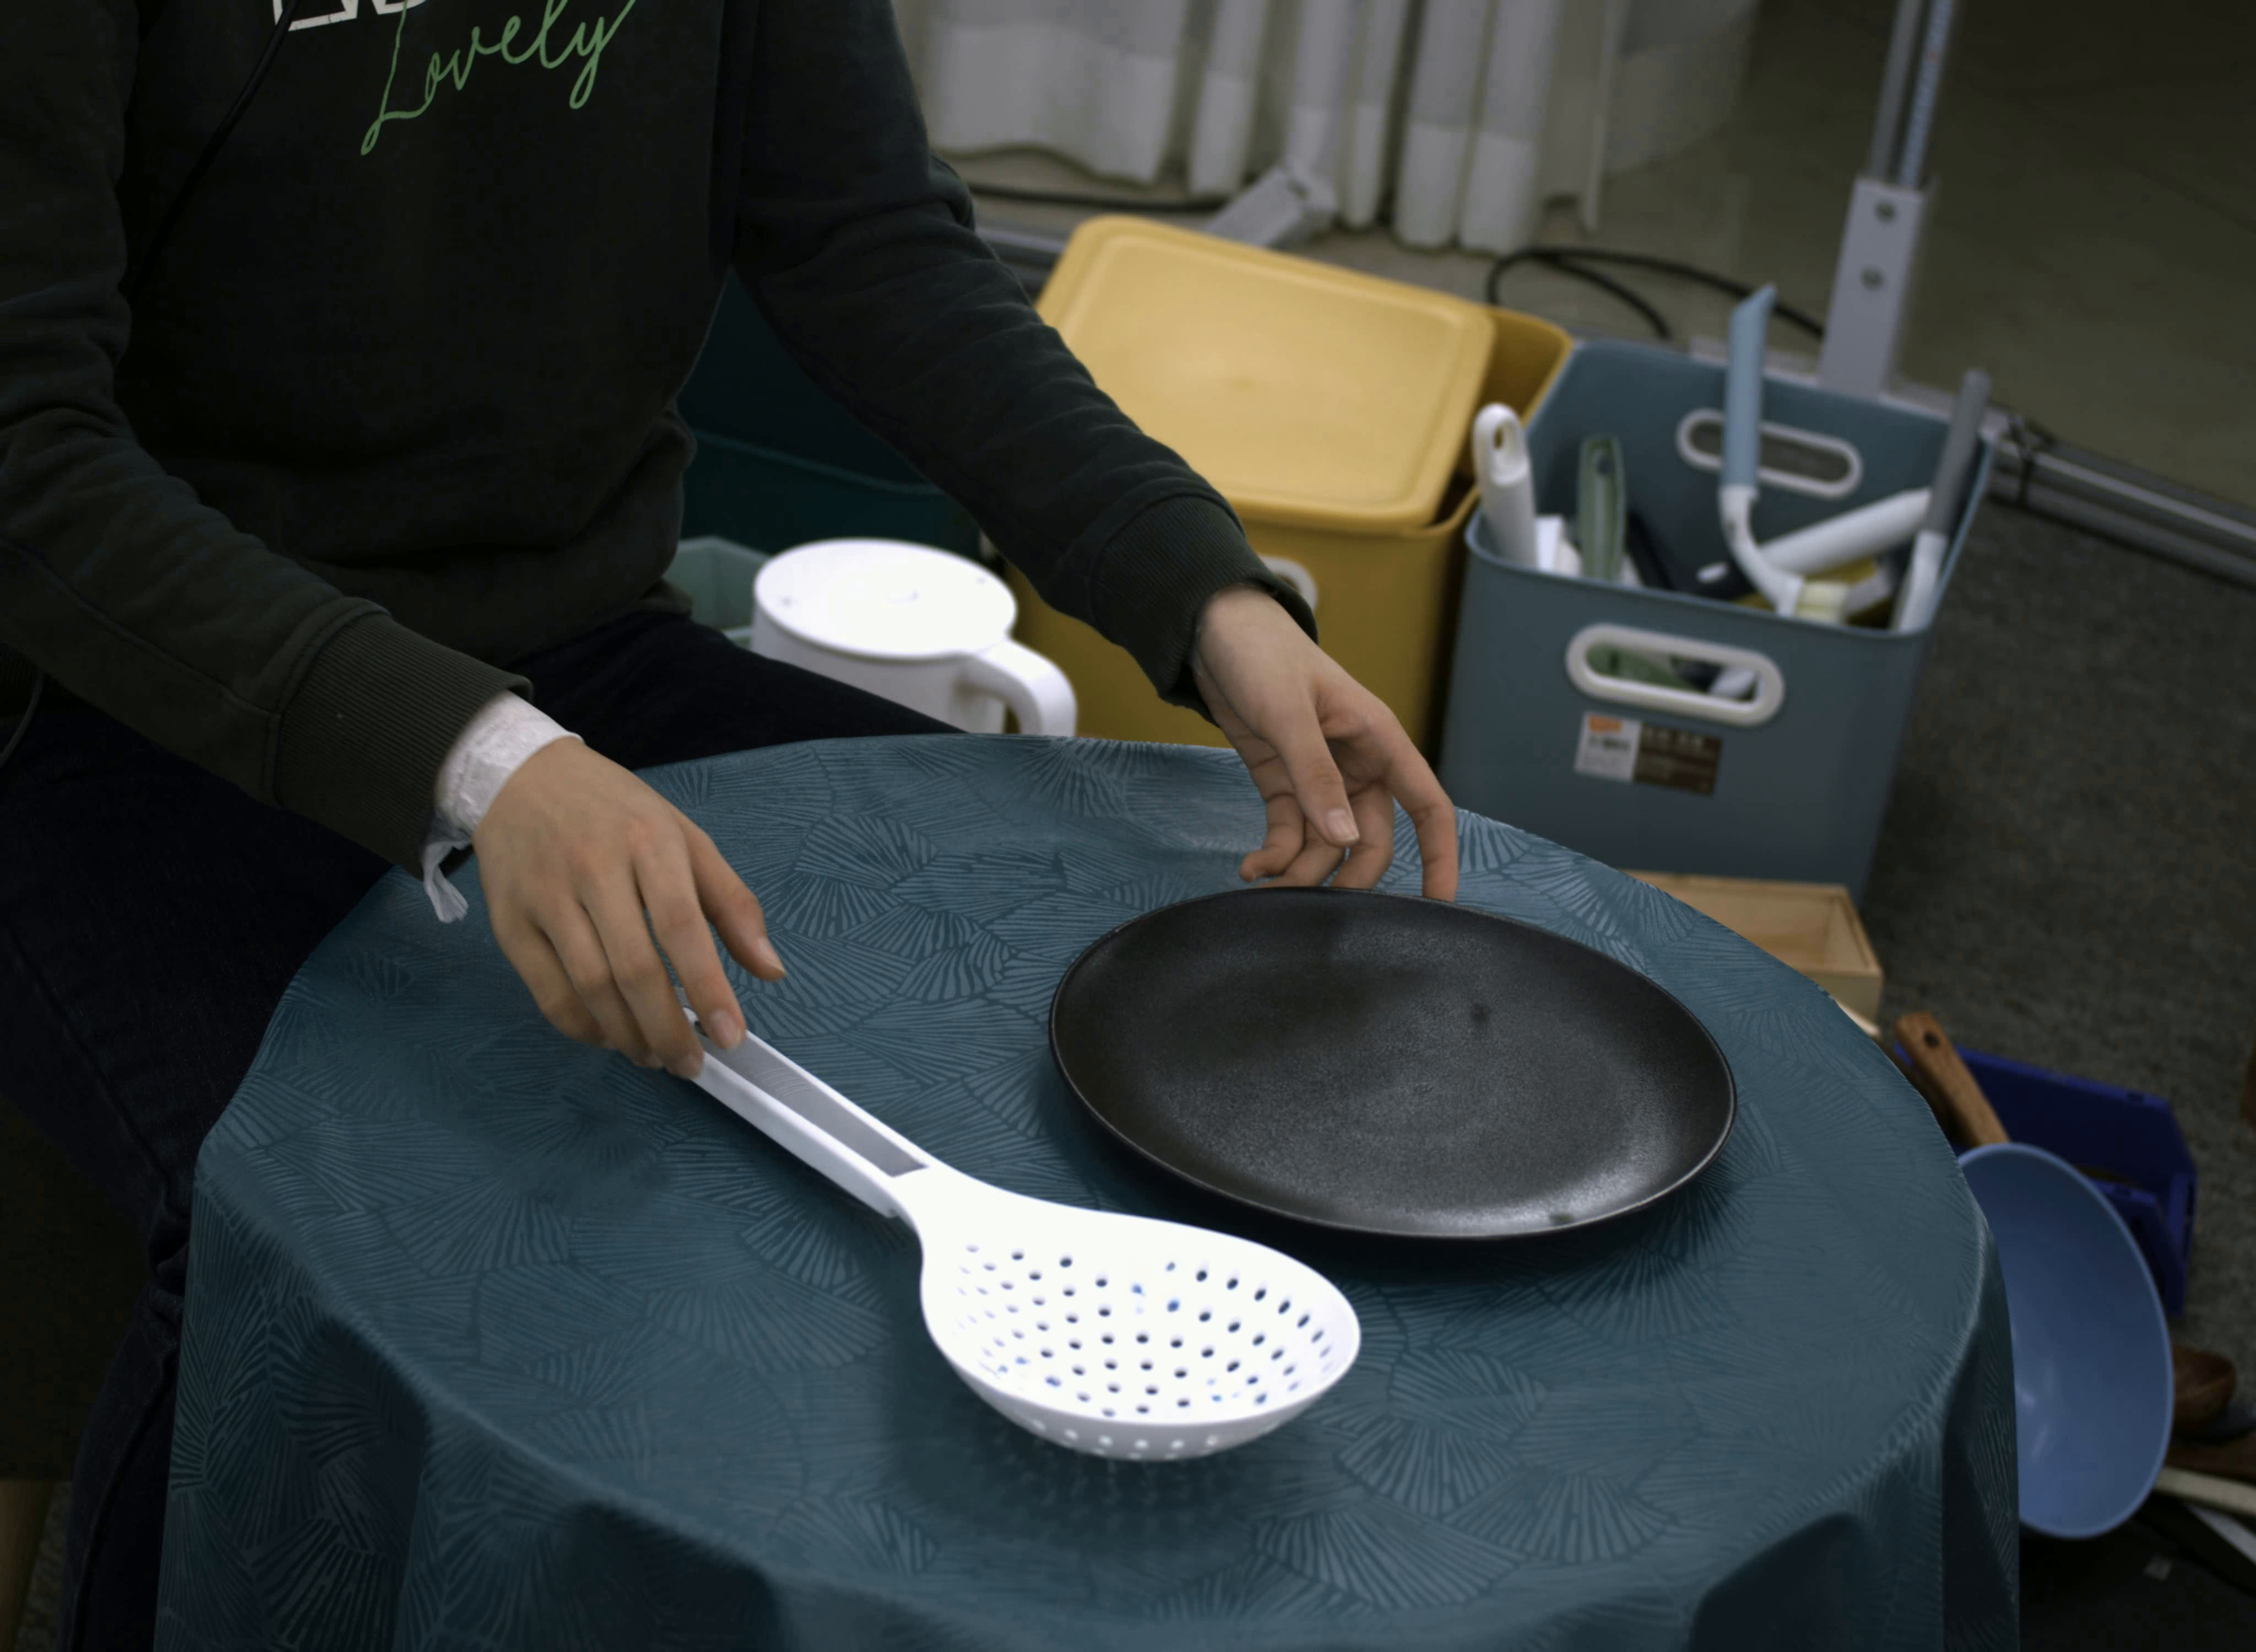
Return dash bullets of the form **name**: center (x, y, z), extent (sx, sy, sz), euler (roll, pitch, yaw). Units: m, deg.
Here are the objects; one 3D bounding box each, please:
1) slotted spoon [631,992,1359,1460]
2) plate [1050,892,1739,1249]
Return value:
- **slotted spoon**: center (-0.061, 0.124, 1.736), extent (0.135, 0.045, 0.353), euler (-11, 31, -35)
- **plate**: center (0.092, 0.089, 1.864), extent (0.243, 0.023, 0.246), euler (5, 27, -3)
